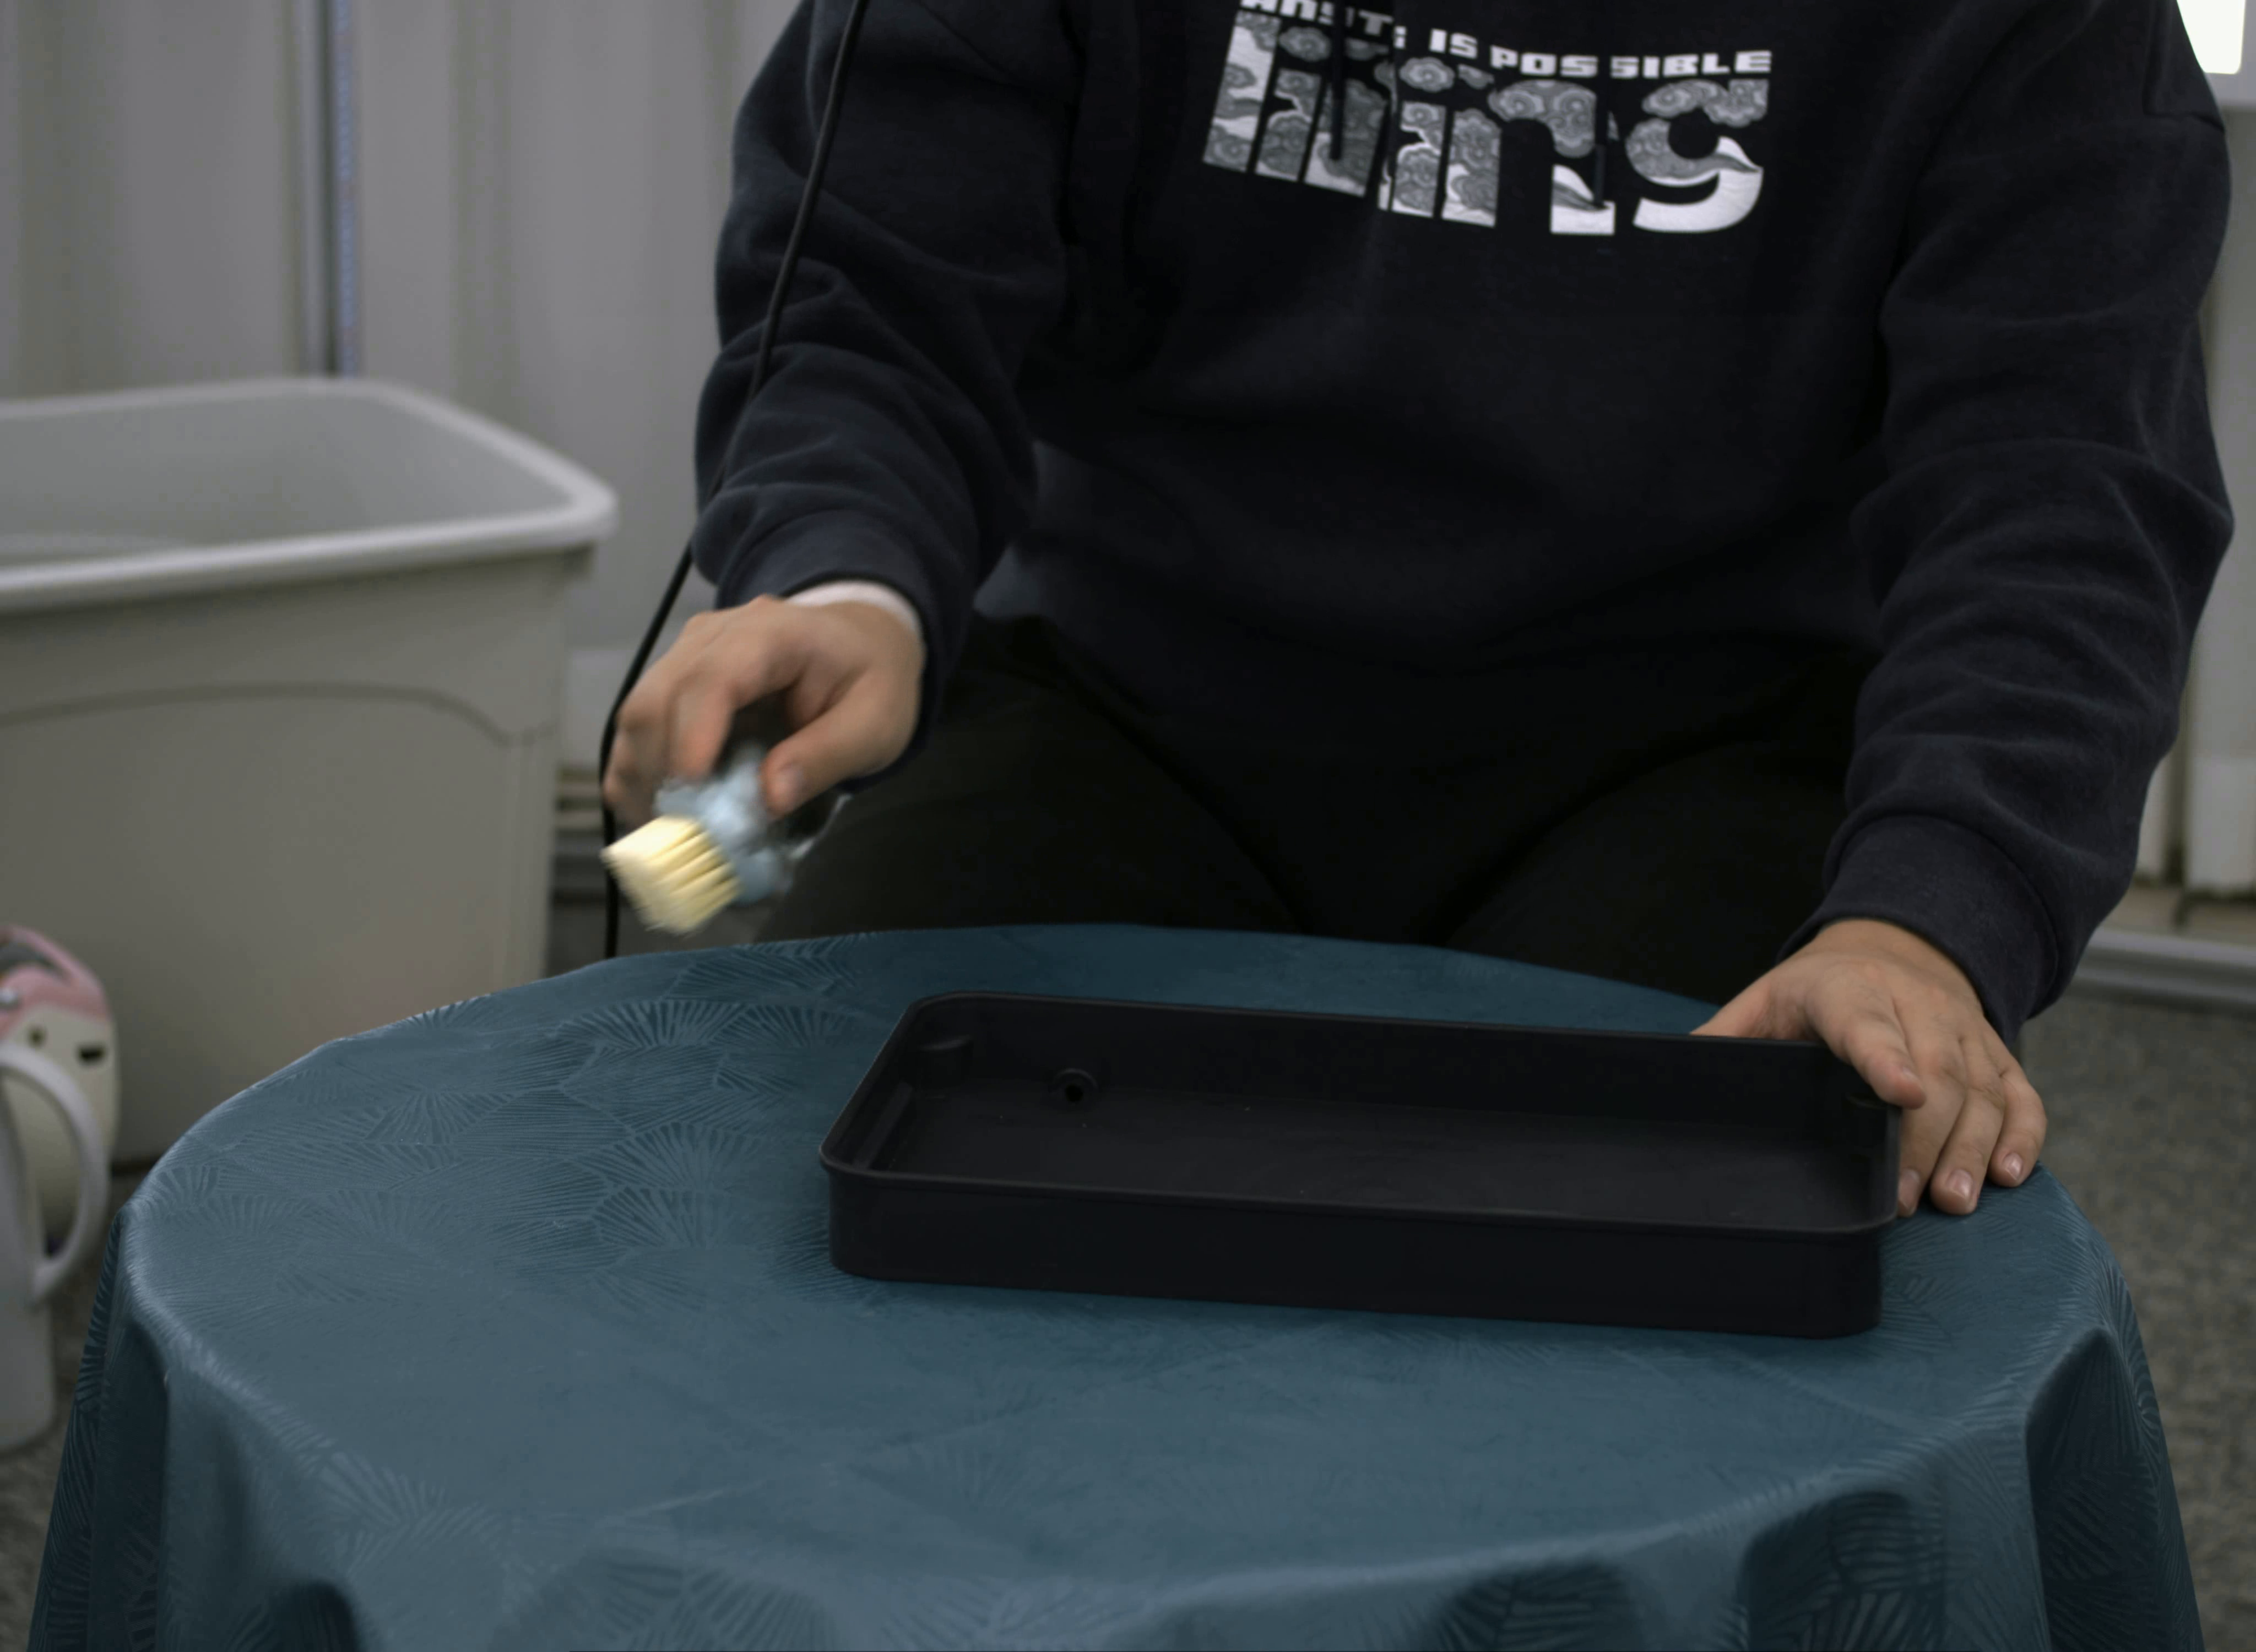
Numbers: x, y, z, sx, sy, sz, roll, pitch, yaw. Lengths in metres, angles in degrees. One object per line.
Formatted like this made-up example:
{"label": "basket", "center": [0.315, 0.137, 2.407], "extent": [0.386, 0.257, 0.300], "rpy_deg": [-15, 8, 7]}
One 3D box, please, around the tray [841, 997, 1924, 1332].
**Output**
{"label": "tray", "center": [0.081, 0.101, 1.606], "extent": [0.316, 0.037, 0.184], "rpy_deg": [2, 15, 6]}

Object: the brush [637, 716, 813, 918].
{"label": "brush", "center": [-0.131, -0.005, 1.675], "extent": [0.049, 0.038, 0.227], "rpy_deg": [-39, 12, 2]}
